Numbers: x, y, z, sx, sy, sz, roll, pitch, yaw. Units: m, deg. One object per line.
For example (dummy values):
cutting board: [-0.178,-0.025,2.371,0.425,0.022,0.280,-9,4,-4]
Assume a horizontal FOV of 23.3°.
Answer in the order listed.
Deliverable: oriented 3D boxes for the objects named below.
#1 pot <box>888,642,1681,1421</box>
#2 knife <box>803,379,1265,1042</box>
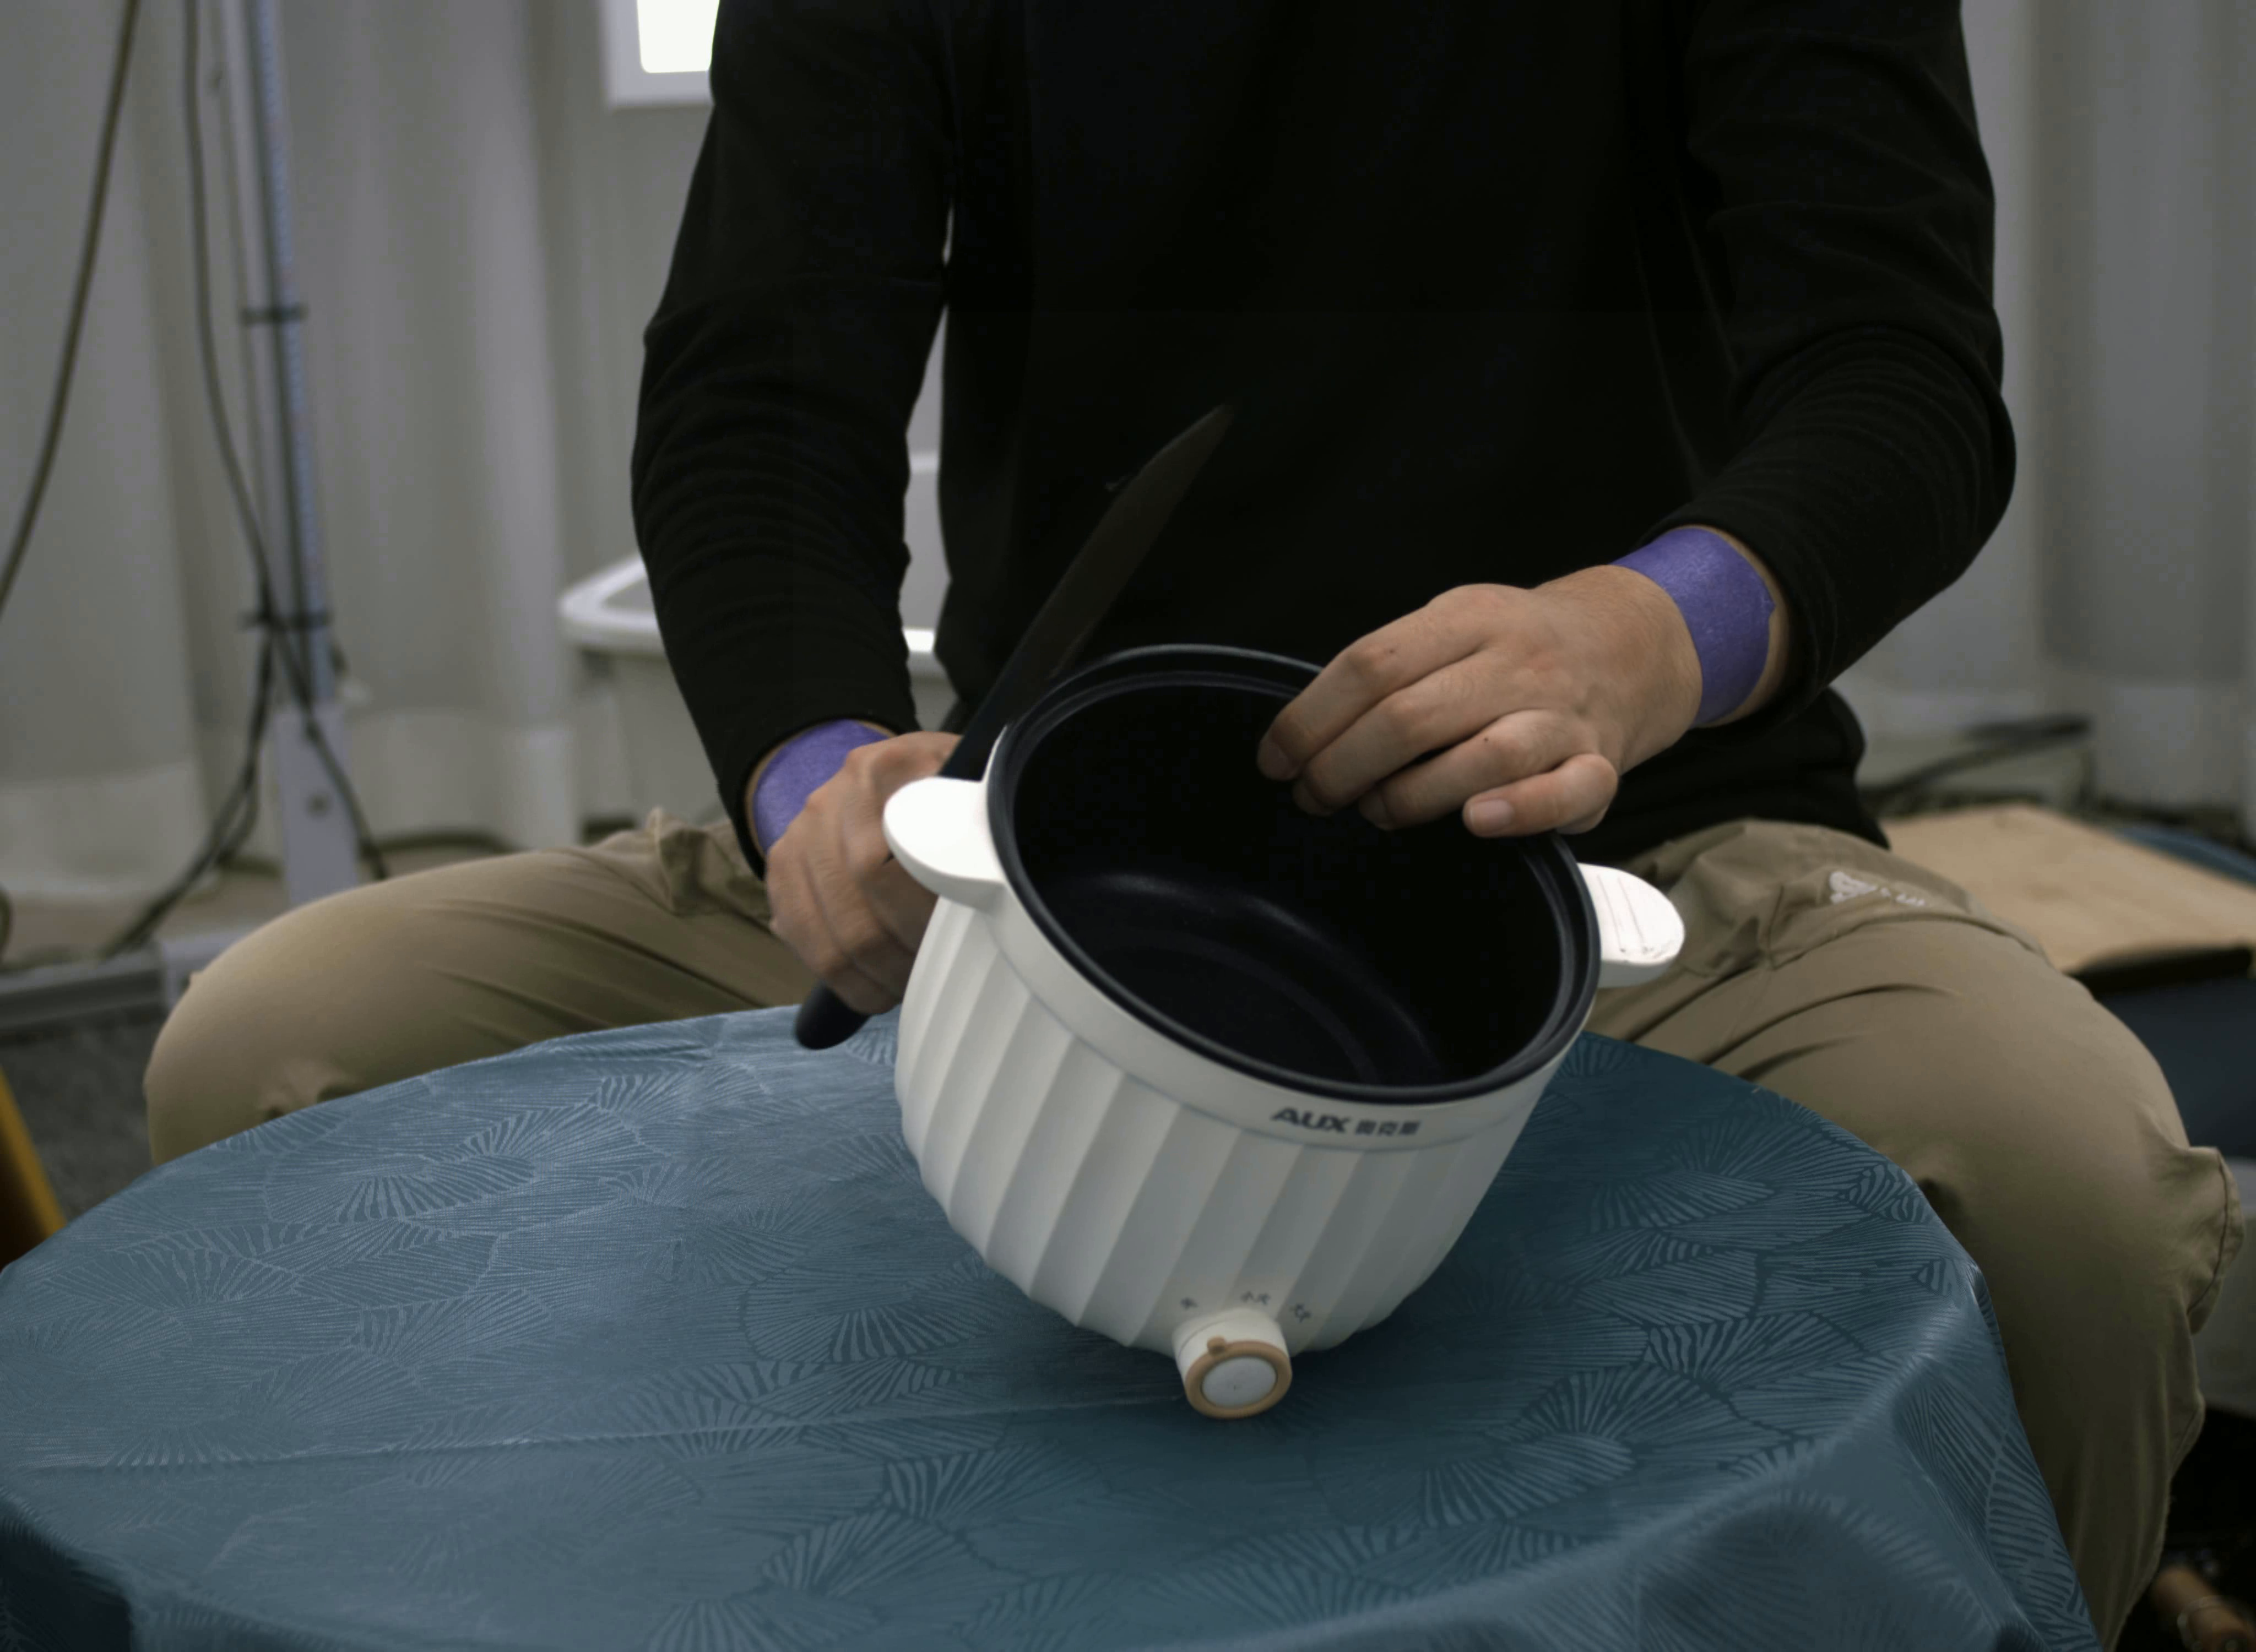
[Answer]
pot: [0.029,0.061,1.556,0.239,0.141,0.193,7,37,-19]
knife: [-0.037,-0.026,1.628,0.021,0.299,0.081,43,48,9]
